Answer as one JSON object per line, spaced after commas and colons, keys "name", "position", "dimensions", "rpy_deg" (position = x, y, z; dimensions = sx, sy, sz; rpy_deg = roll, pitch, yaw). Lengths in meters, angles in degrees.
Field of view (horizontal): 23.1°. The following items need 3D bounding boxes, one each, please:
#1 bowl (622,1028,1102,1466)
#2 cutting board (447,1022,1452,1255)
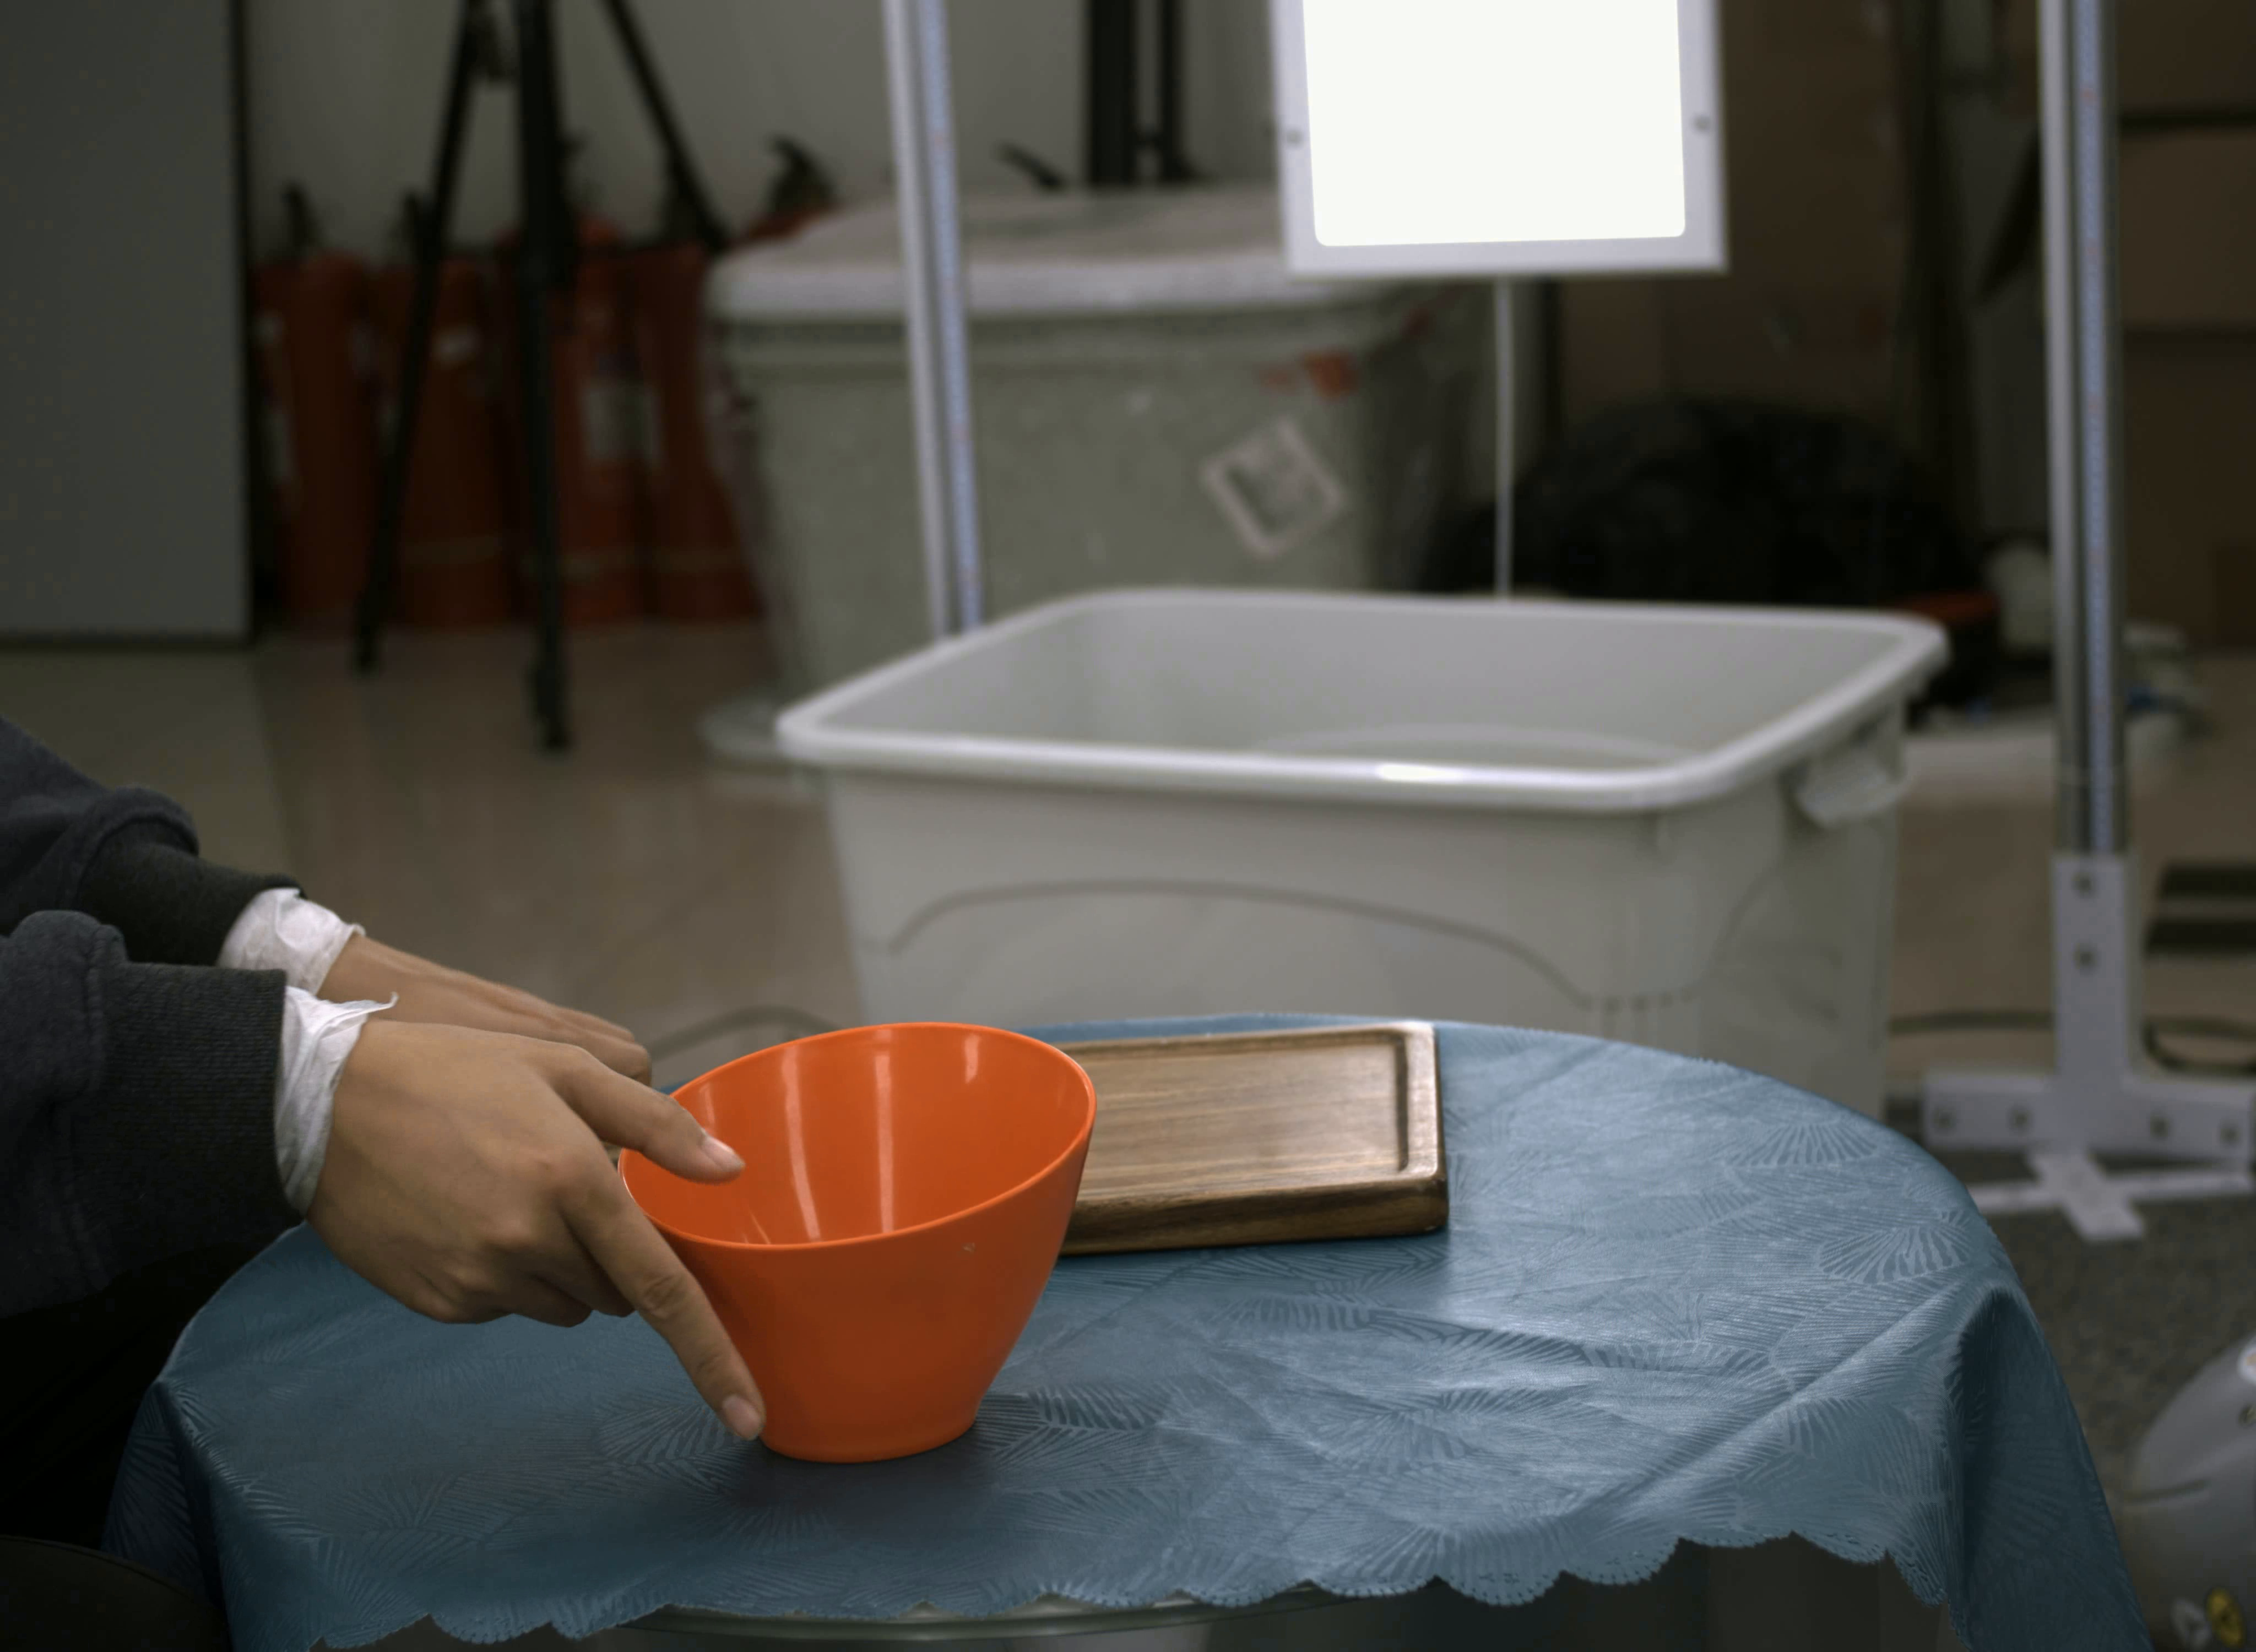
{"name": "bowl", "position": [-0.079, 0.132, 1.688], "dimensions": [0.147, 0.105, 0.148], "rpy_deg": [-4, 14, 0]}
{"name": "cutting board", "position": [-0.064, 0.114, 1.930], "dimensions": [0.353, 0.023, 0.200], "rpy_deg": [-4, 14, 5]}
